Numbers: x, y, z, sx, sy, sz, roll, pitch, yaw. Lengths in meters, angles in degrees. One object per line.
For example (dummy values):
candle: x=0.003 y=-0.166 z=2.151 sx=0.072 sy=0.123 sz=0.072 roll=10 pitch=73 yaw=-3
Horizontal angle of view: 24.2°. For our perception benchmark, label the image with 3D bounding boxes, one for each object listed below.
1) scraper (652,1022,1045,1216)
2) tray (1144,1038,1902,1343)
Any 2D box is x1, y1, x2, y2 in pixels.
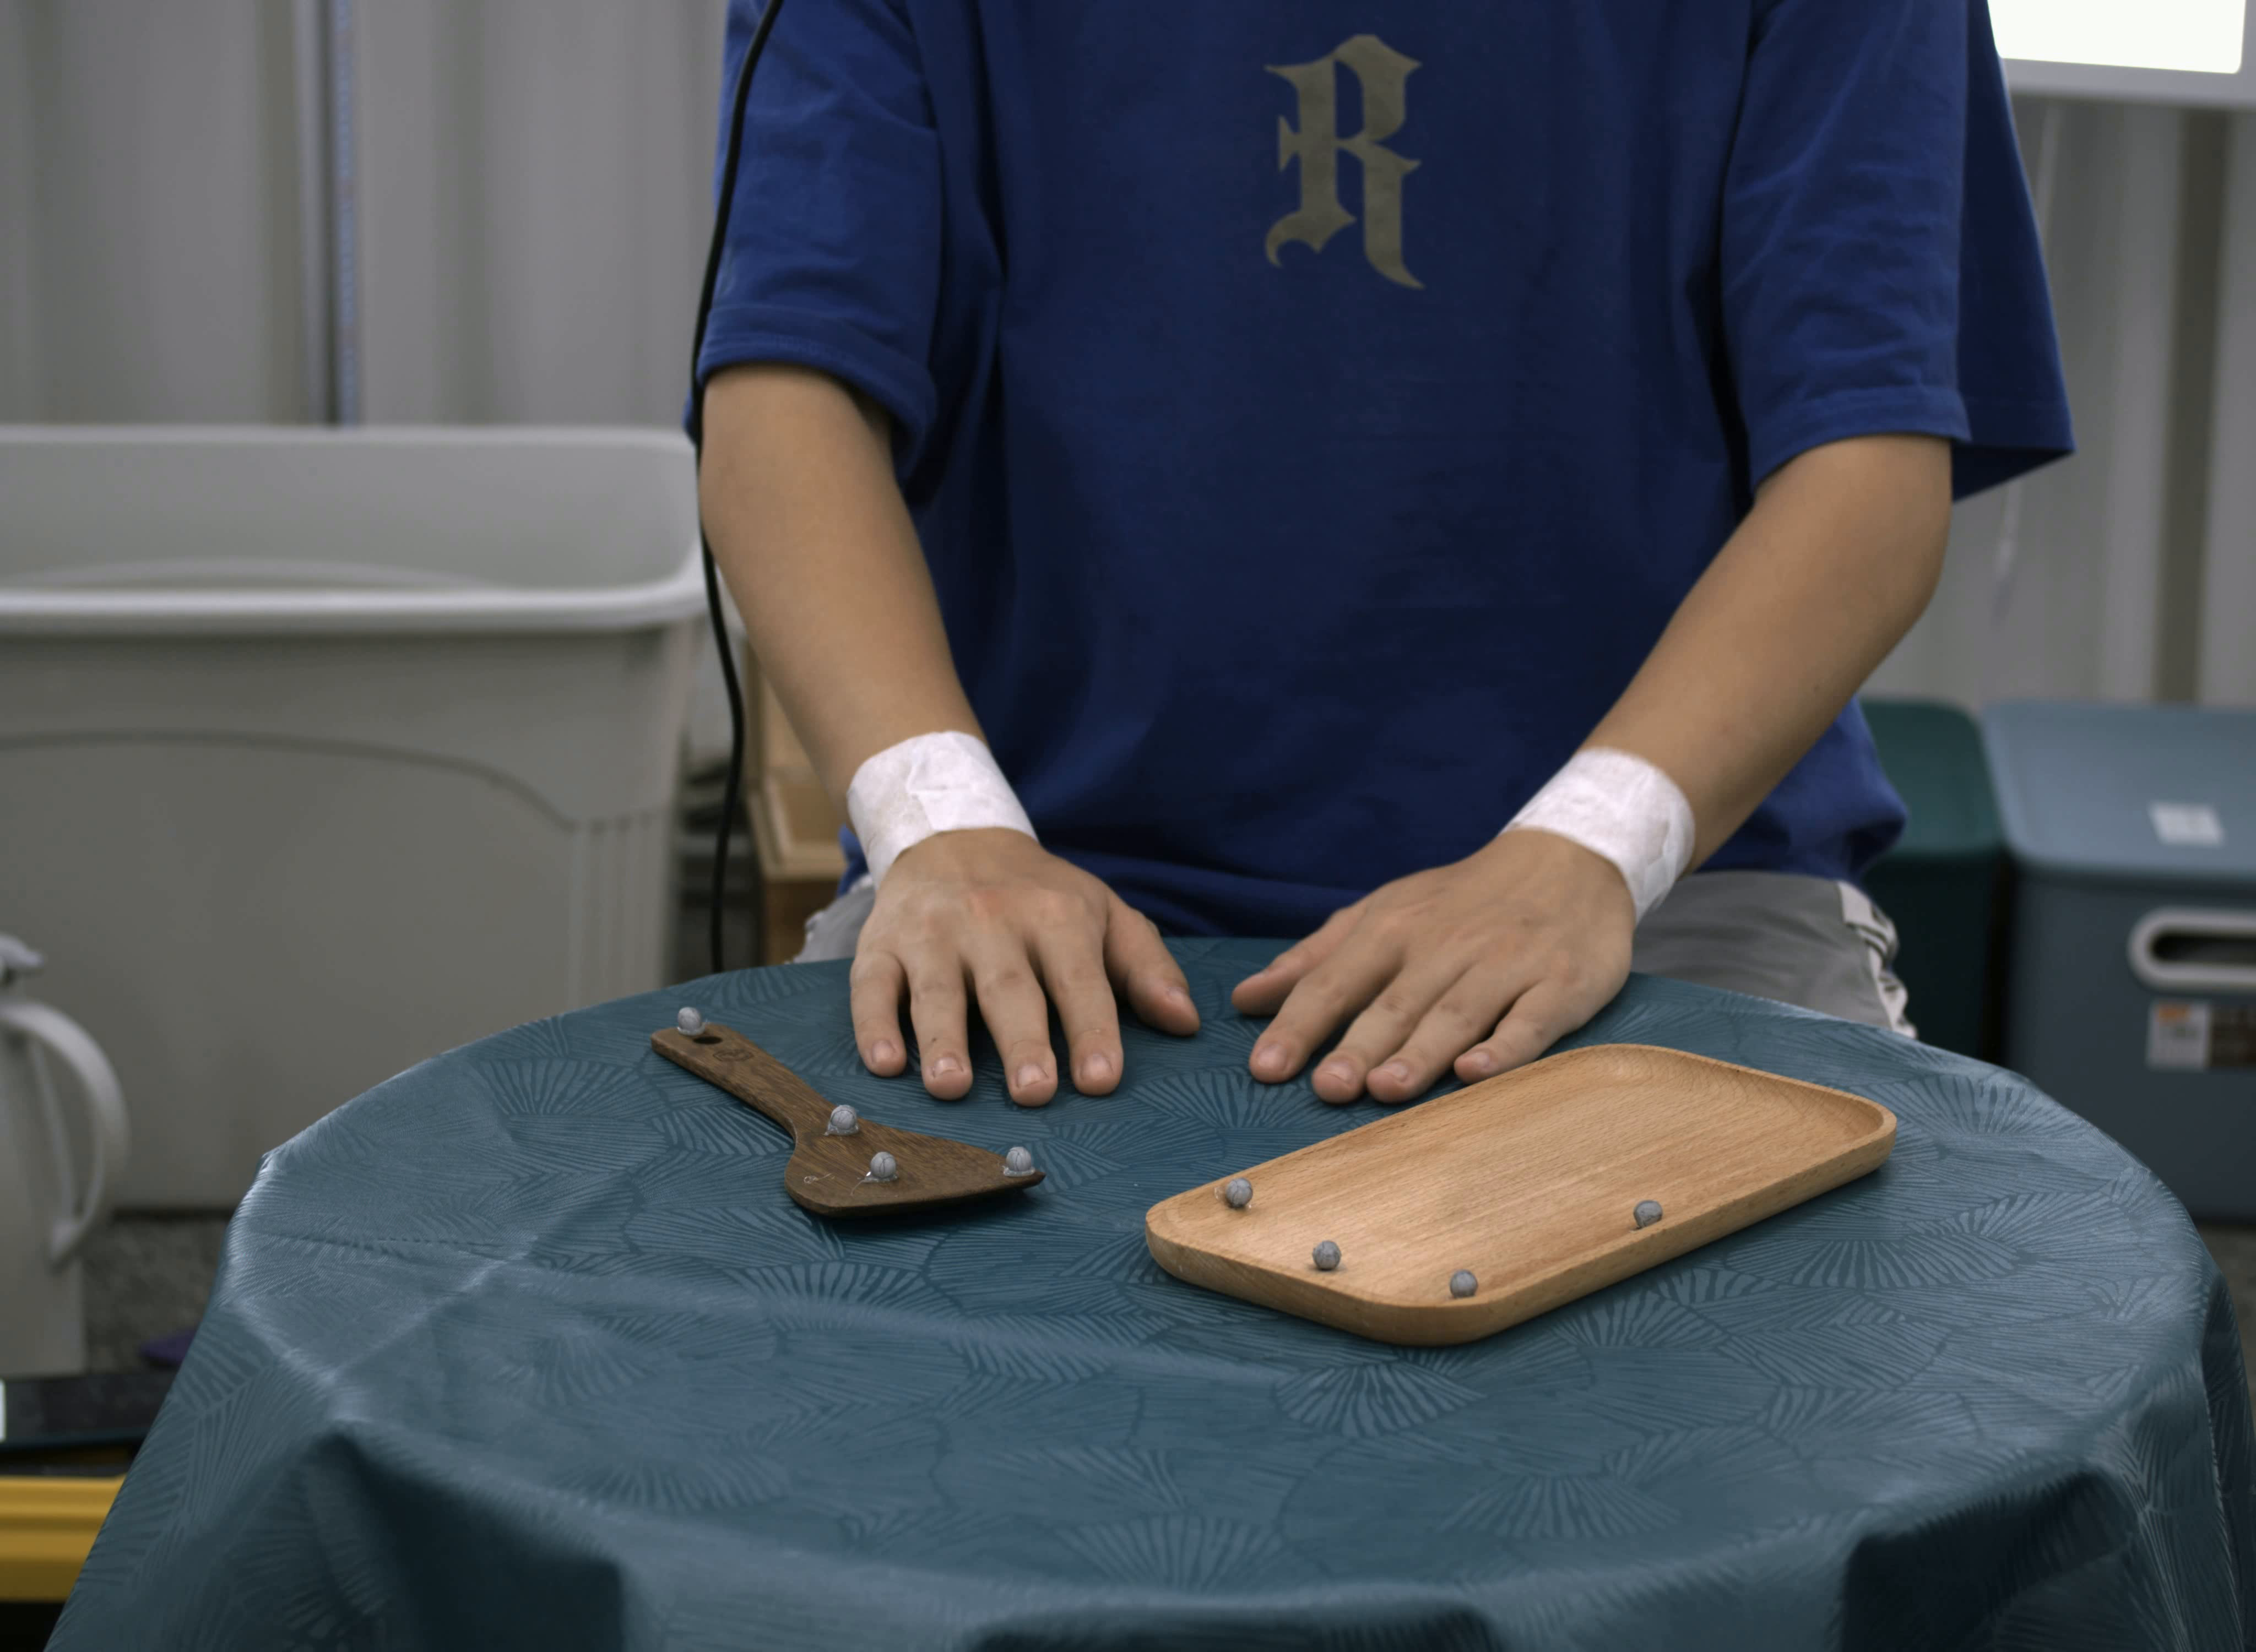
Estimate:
scraper: x=-0.101 y=0.092 z=1.677 sx=0.076 sy=0.011 sz=0.208 roll=-6 pitch=16 yaw=-27
tray: x=0.124 y=0.109 z=1.607 sx=0.129 sy=0.023 sz=0.252 roll=17 pitch=22 yaw=39
